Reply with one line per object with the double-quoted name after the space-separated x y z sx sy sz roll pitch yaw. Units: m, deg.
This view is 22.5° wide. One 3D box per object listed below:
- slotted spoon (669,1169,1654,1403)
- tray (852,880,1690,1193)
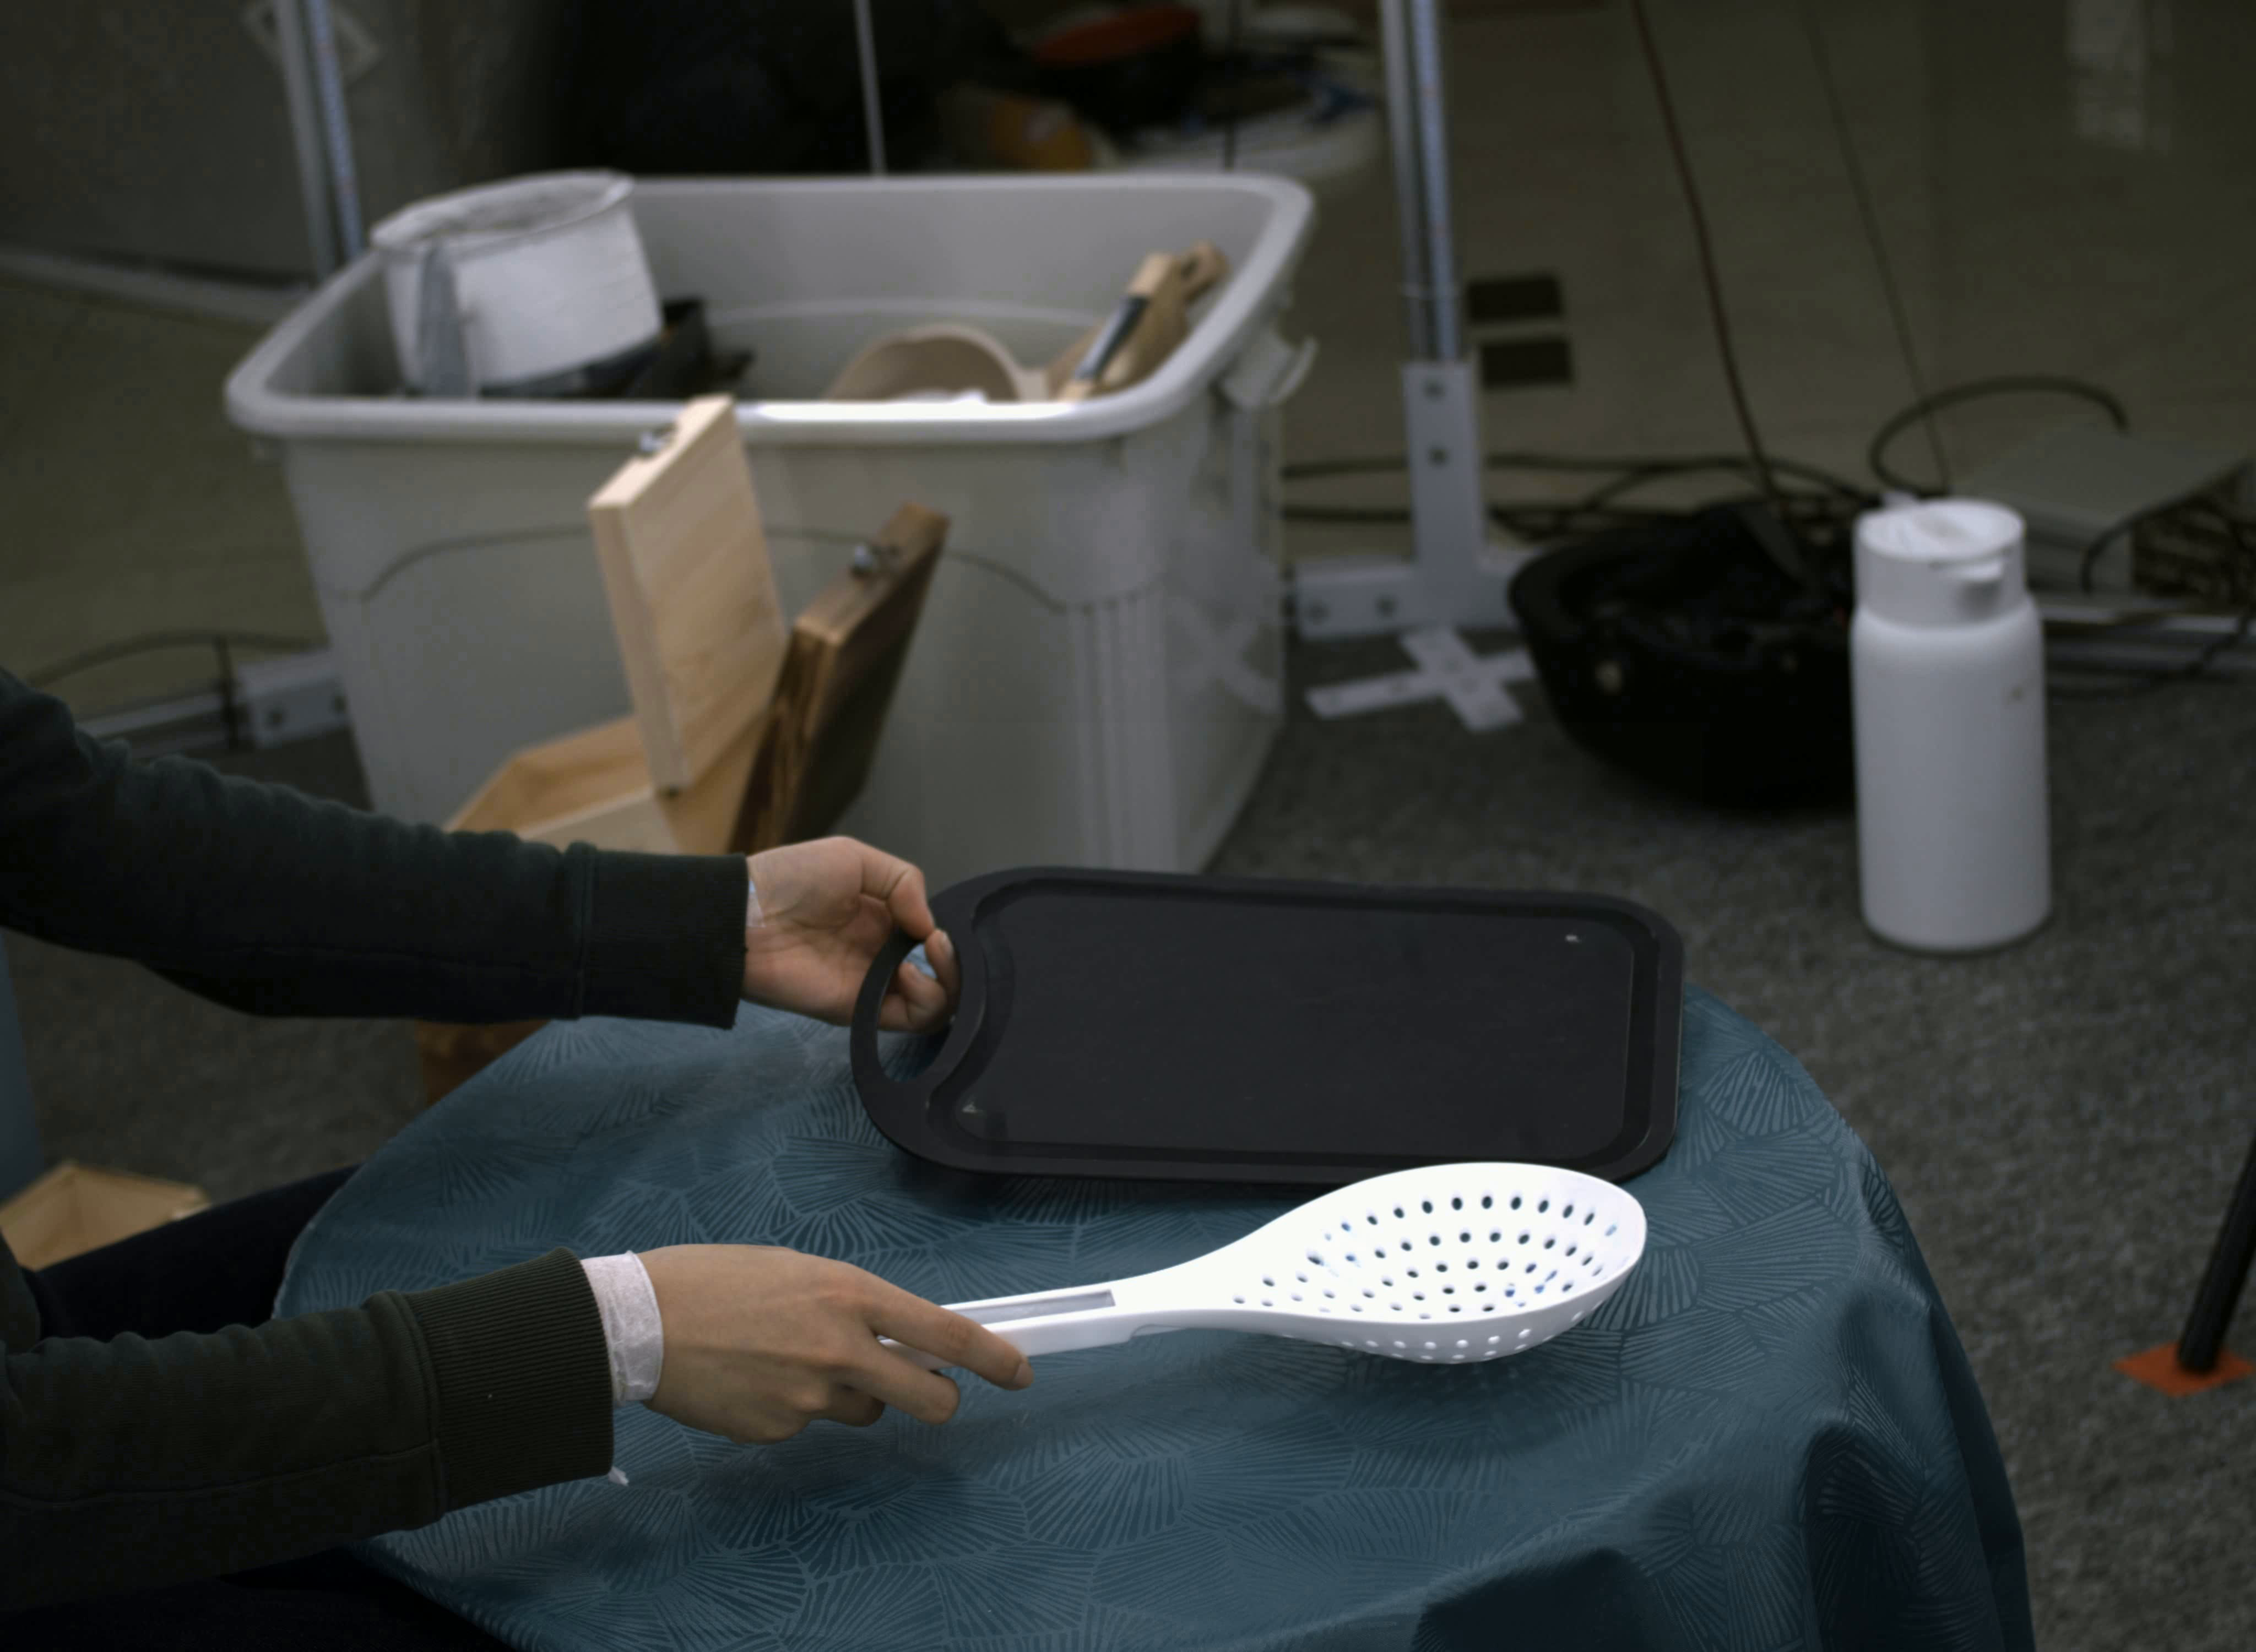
0.012 0.169 2.003 0.349 0.046 0.134 -3 18 -7 "slotted spoon"
0.055 0.078 2.213 0.325 0.010 0.207 2 31 7 "tray"
